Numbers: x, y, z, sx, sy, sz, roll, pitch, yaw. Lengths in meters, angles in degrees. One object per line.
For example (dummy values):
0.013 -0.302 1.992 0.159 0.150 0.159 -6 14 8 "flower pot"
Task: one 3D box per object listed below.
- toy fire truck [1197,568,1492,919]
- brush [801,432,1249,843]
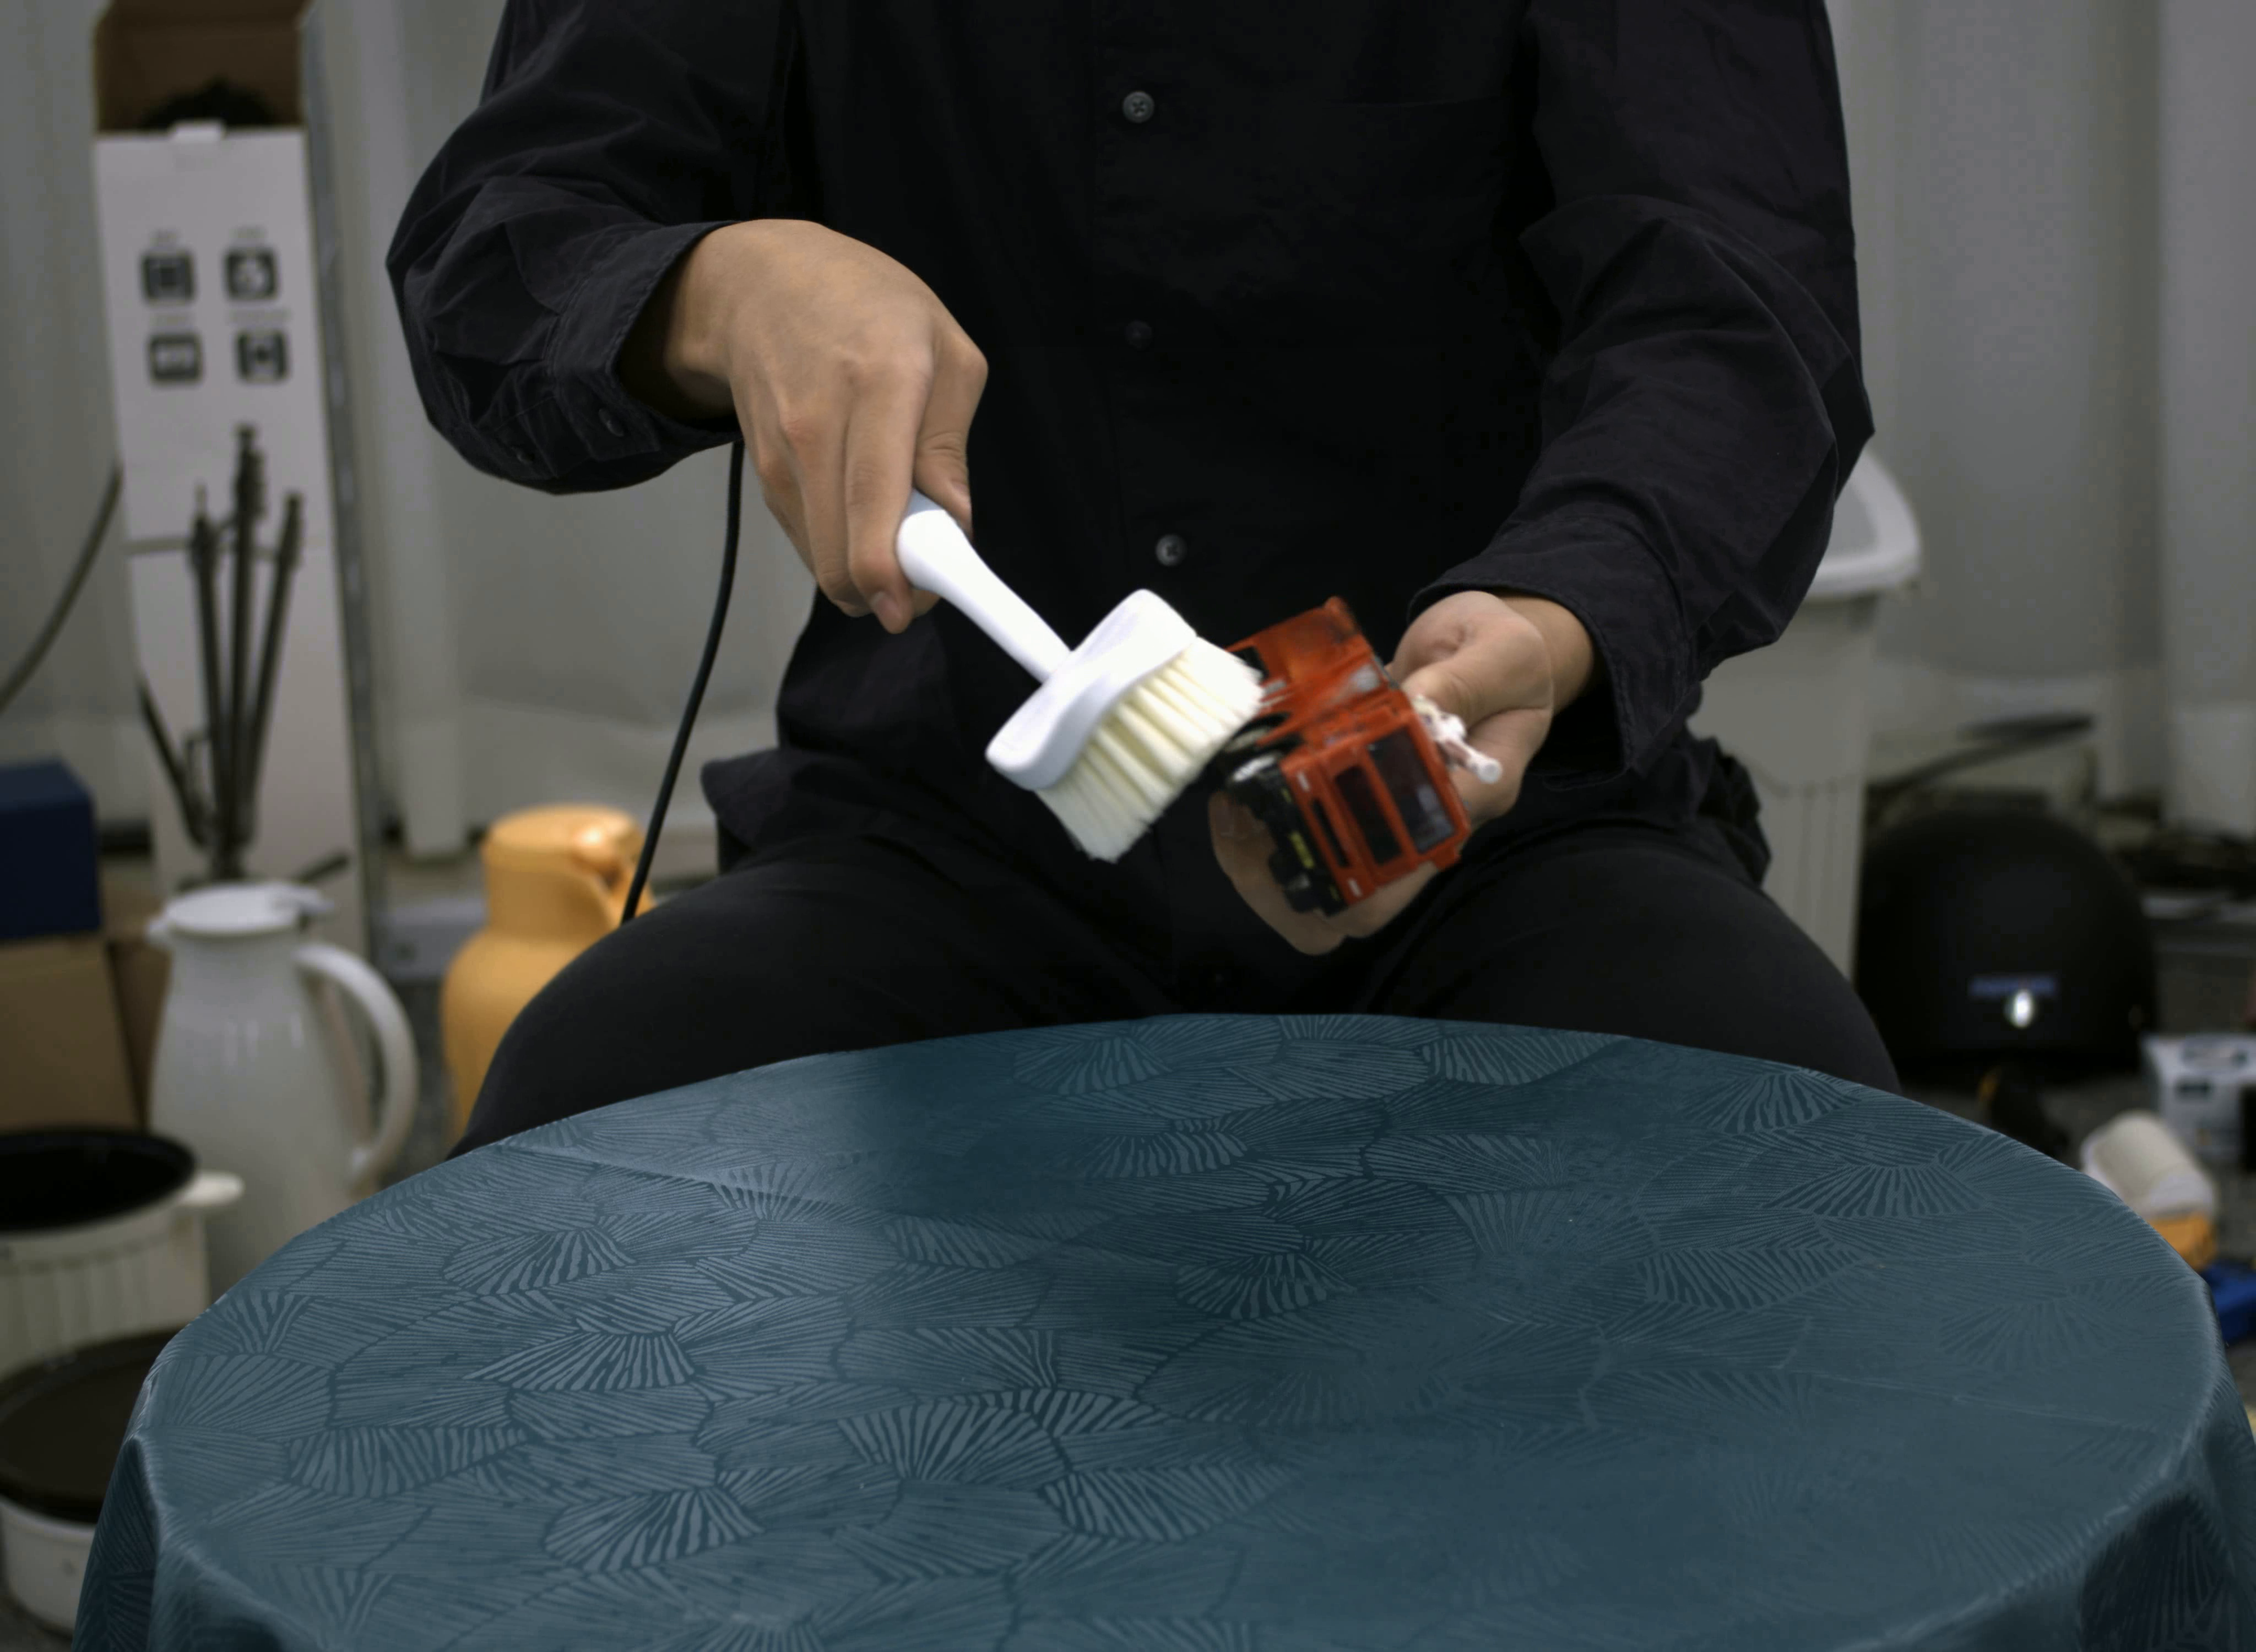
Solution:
0.056 -0.025 1.518 0.070 0.054 0.169 -26 15 0 "toy fire truck"
-0.024 -0.058 1.631 0.083 0.084 0.328 -13 17 -12 "brush"
